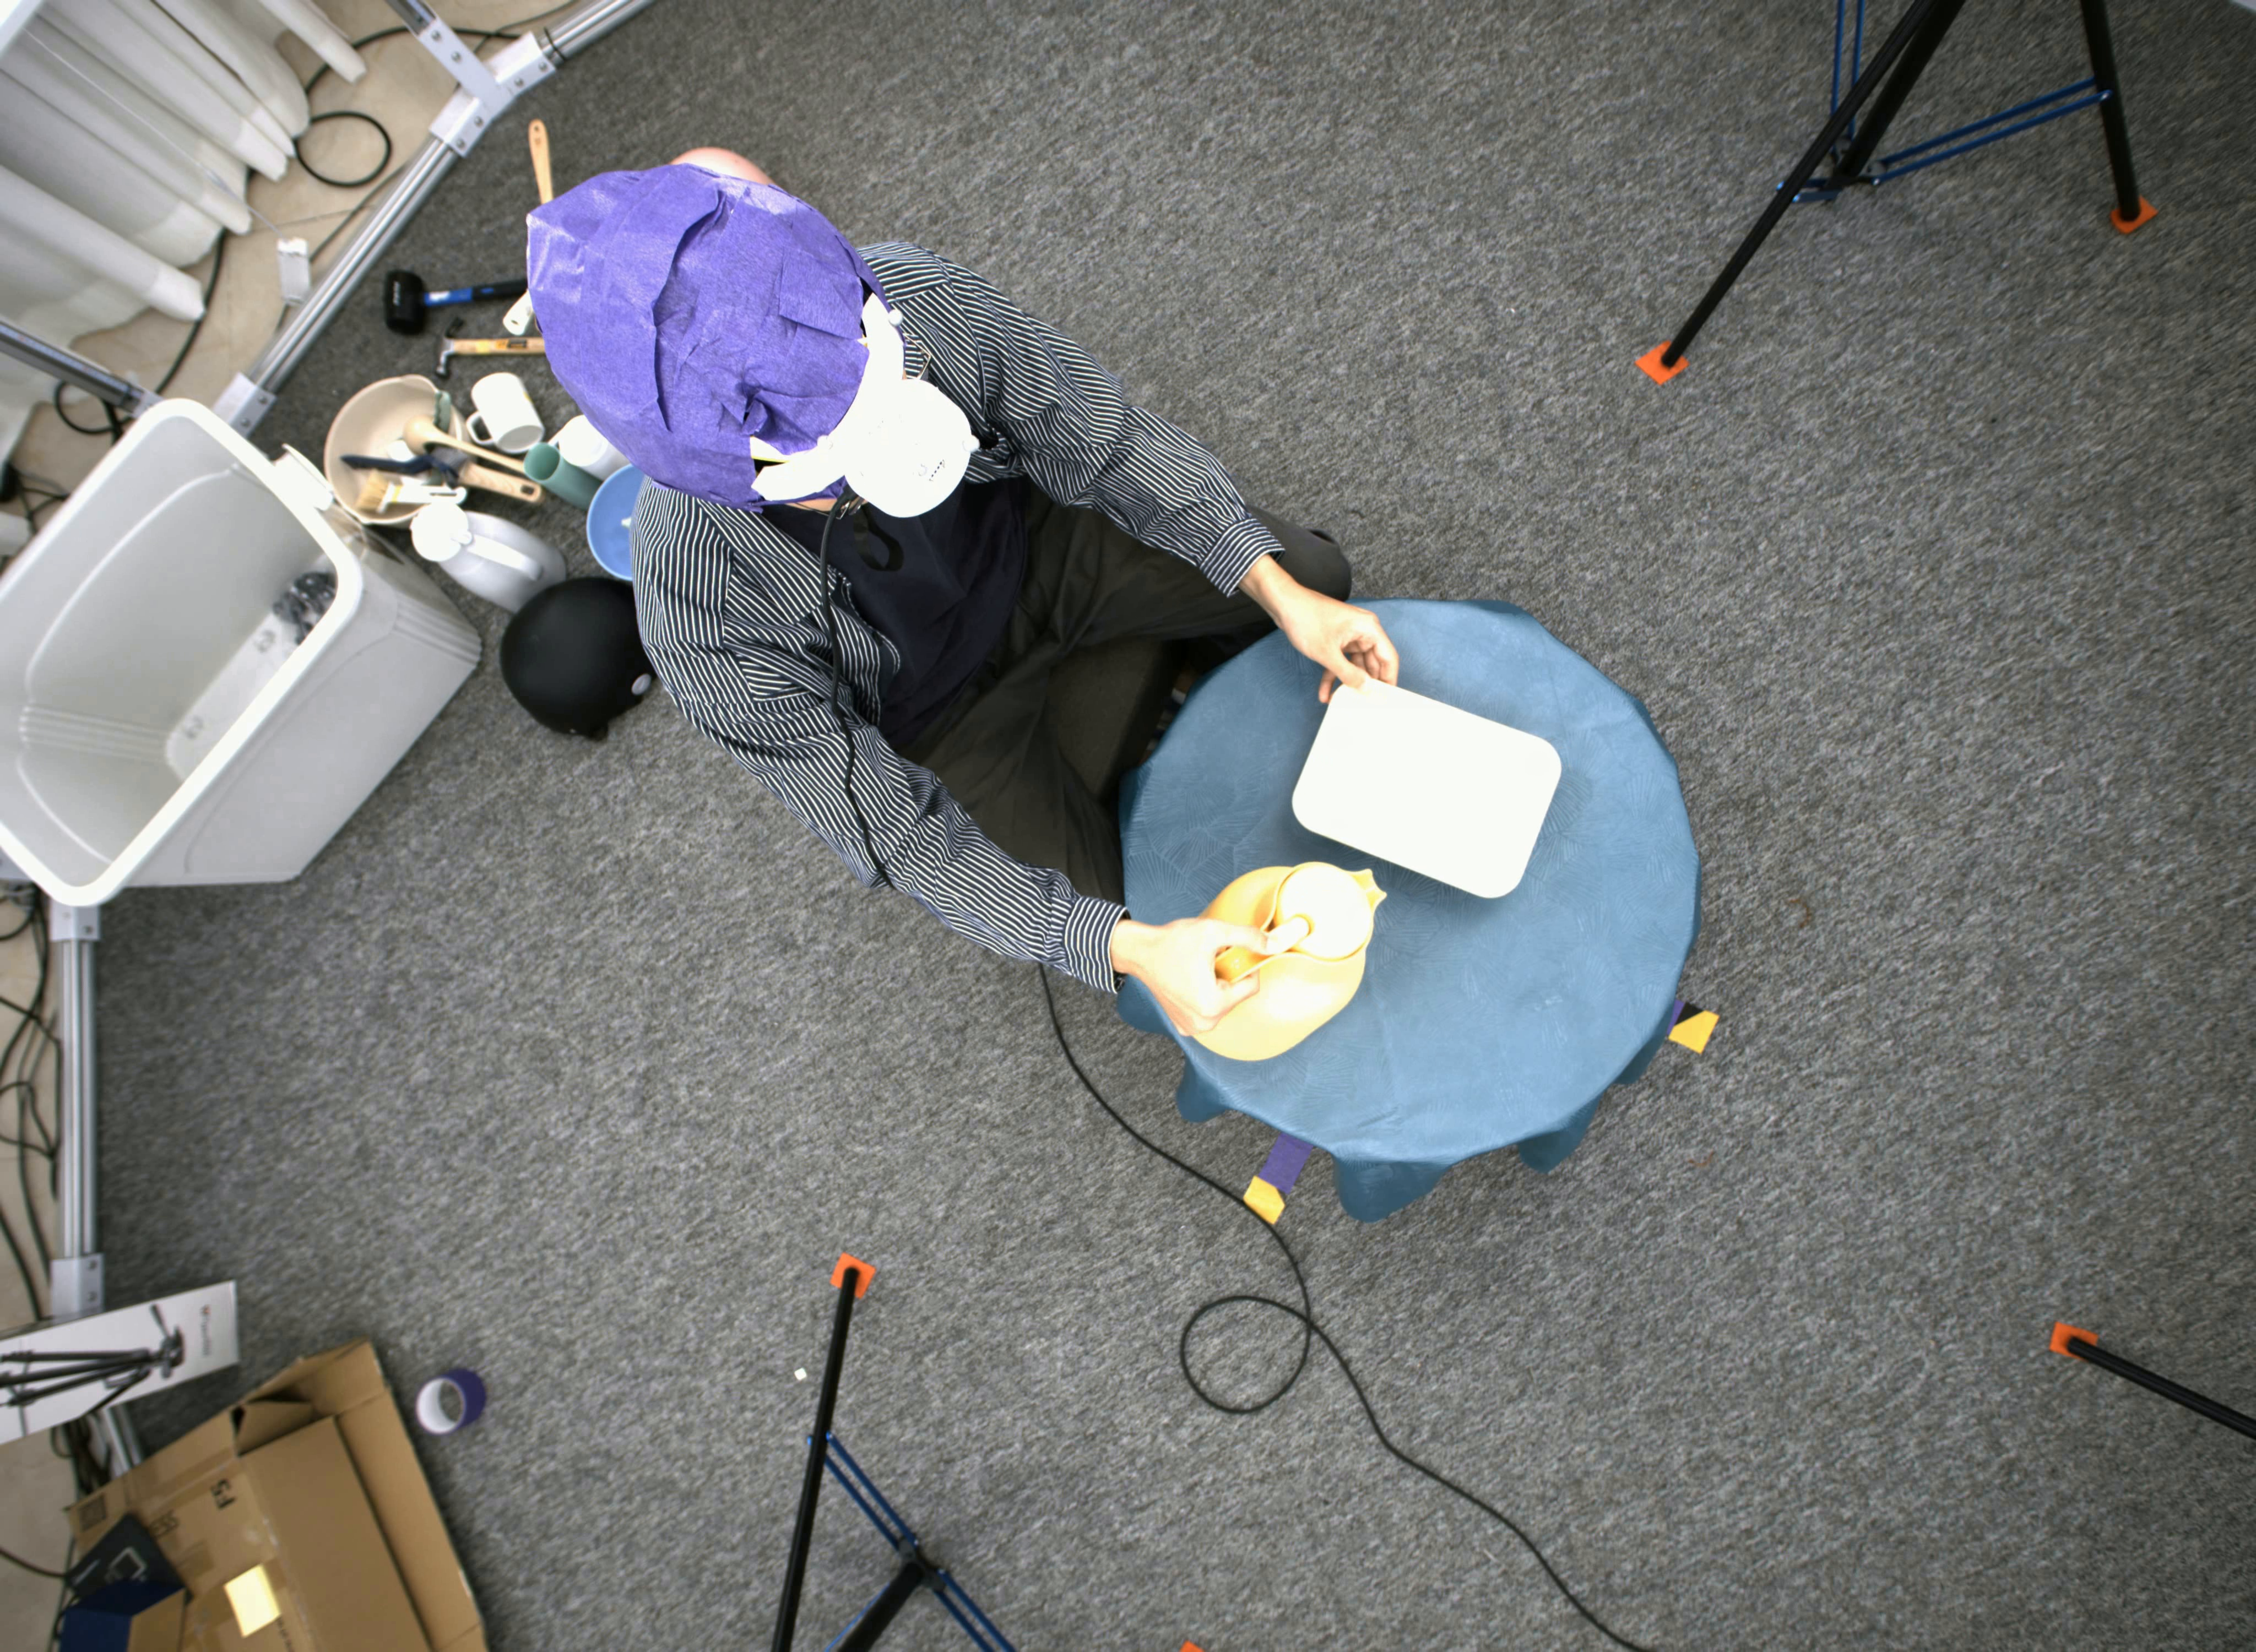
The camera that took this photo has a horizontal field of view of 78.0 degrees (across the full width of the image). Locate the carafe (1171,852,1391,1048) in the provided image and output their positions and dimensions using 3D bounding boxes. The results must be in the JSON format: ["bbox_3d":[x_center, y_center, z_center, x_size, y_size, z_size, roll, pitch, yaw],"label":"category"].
[{"bbox_3d":[0.133,0.118,1.324,0.199,0.266,0.162,-30,78,-25],"label":"carafe"}]

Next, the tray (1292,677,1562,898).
[{"bbox_3d":[0.296,-0.041,1.368,0.239,0.017,0.170,21,87,11],"label":"tray"}]
